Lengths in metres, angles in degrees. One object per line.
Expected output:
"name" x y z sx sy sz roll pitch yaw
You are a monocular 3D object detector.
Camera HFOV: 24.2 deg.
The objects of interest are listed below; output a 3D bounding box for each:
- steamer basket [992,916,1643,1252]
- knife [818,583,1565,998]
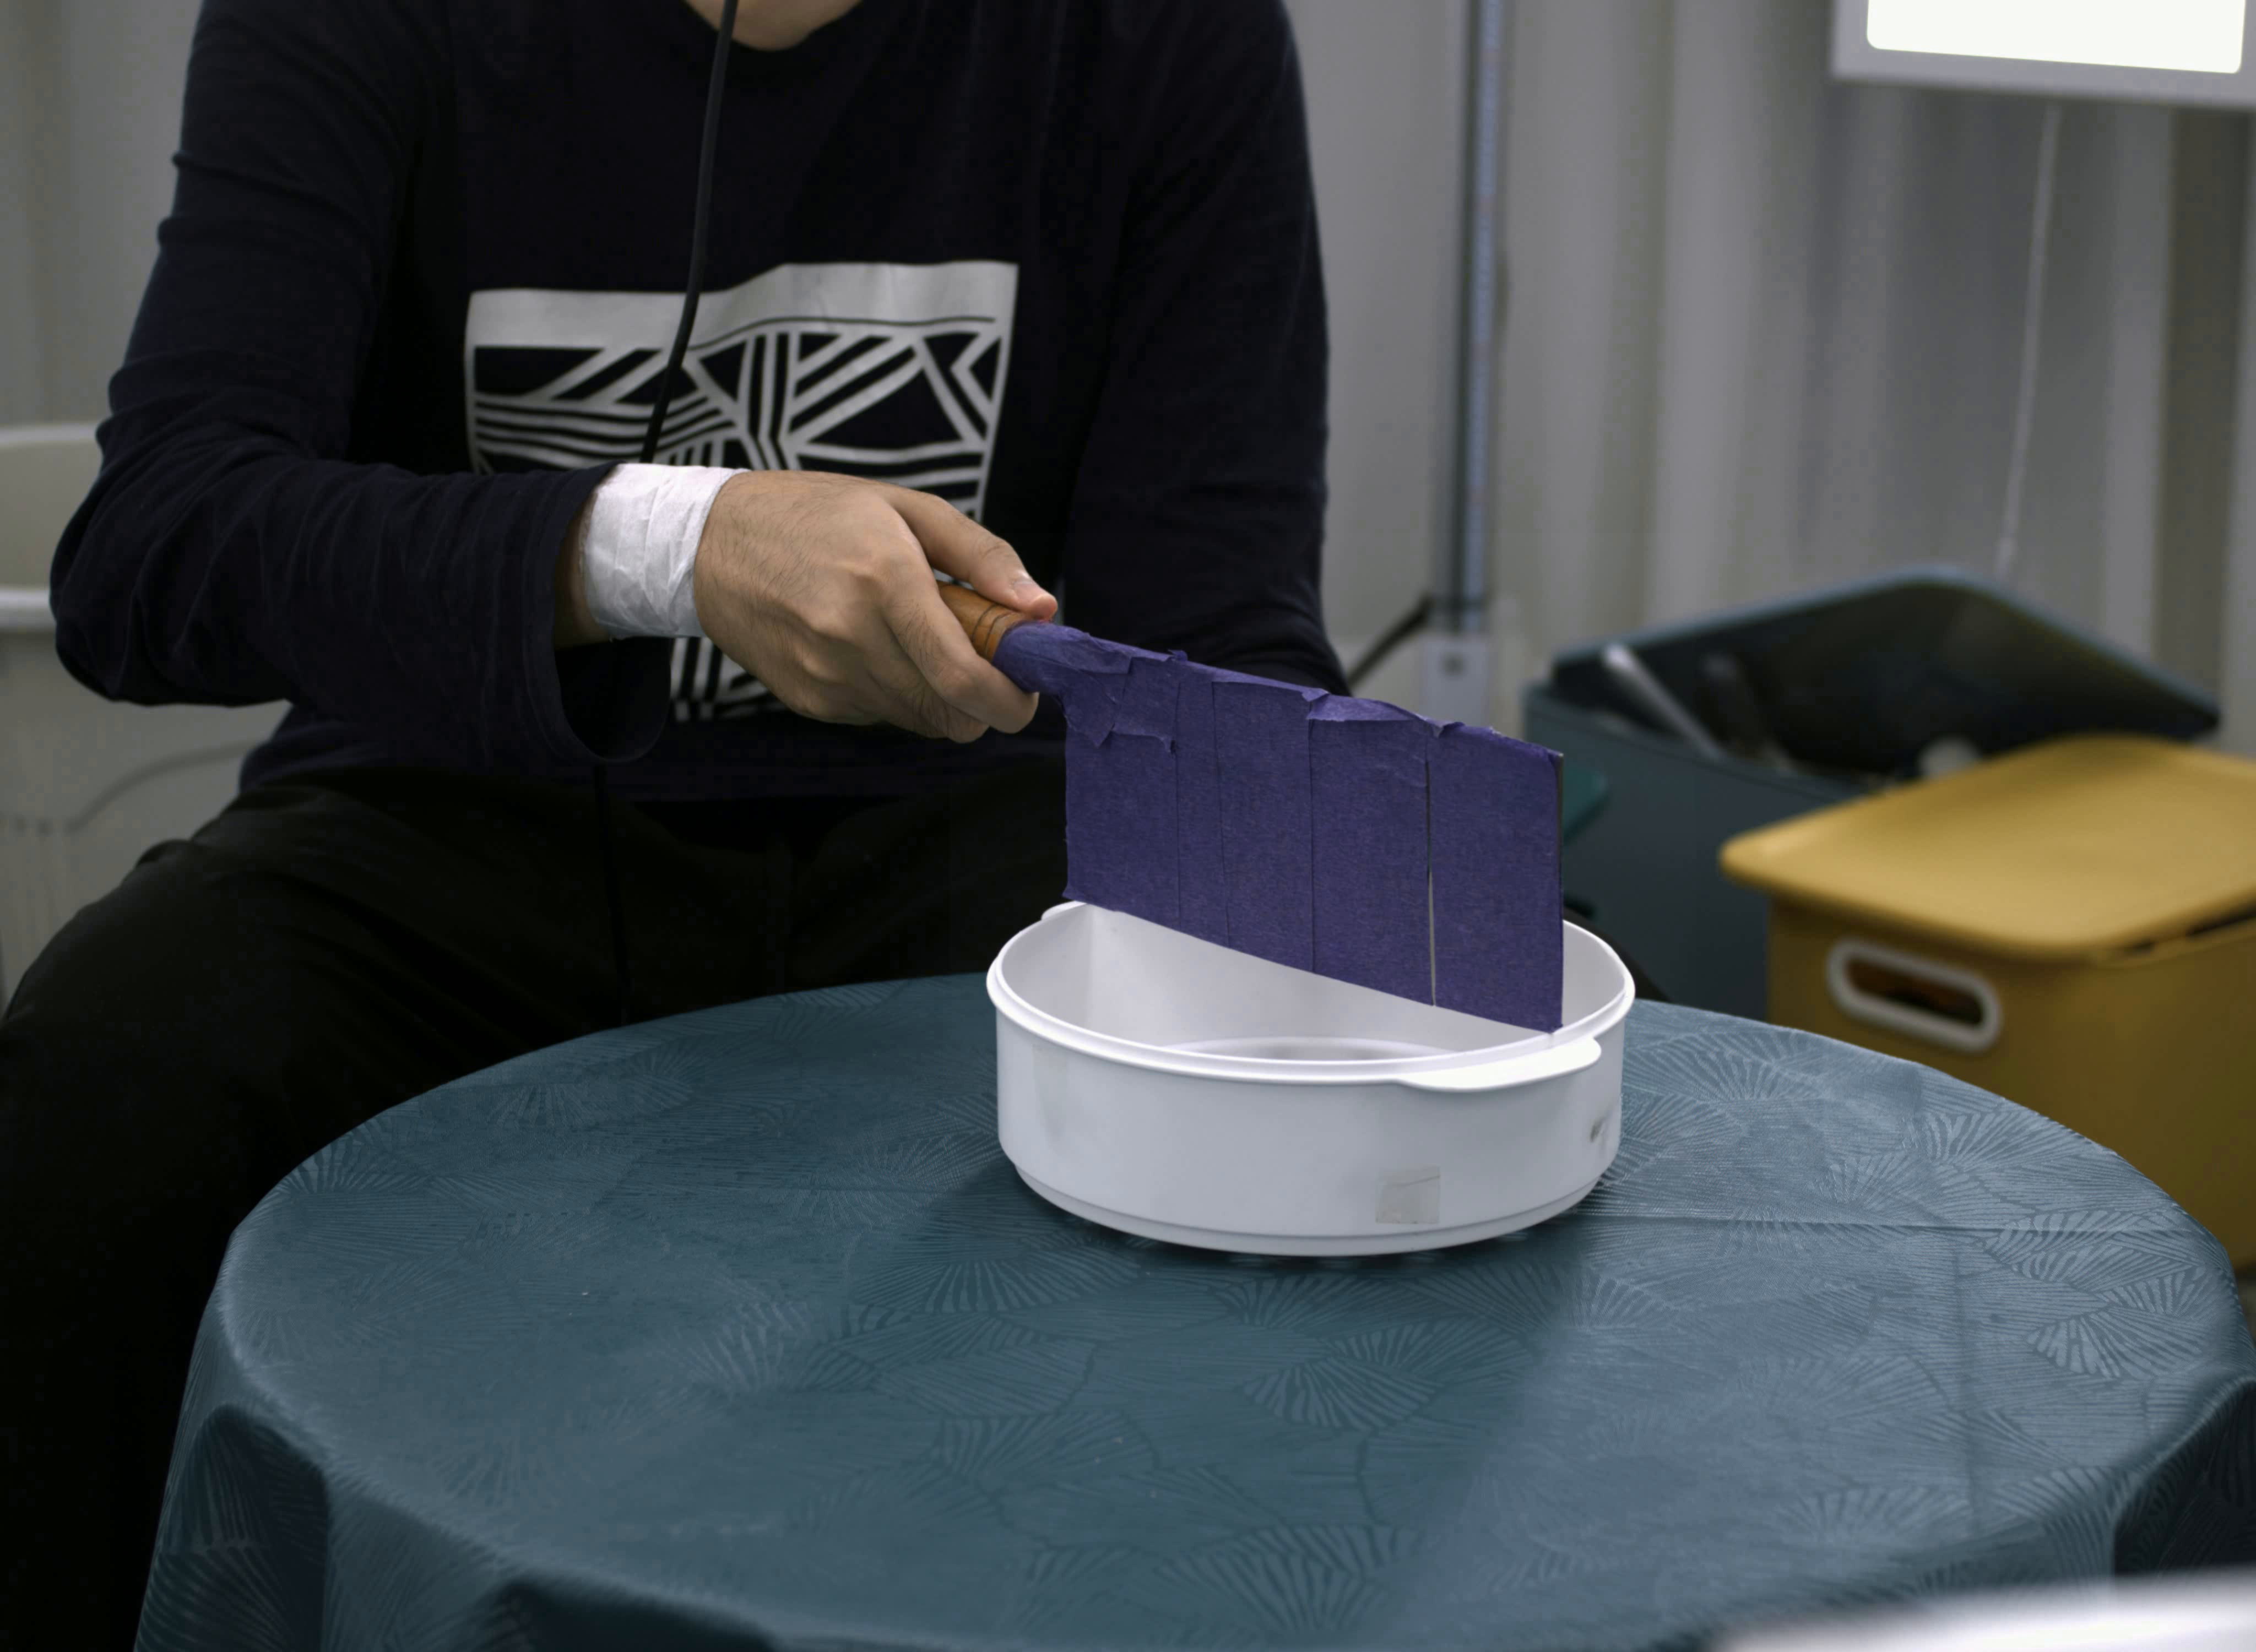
"steamer basket" 0.058 0.078 1.631 0.203 0.070 0.227 -8 15 -33
"knife" 0.014 -0.011 1.644 0.032 0.104 0.311 -14 20 -42
